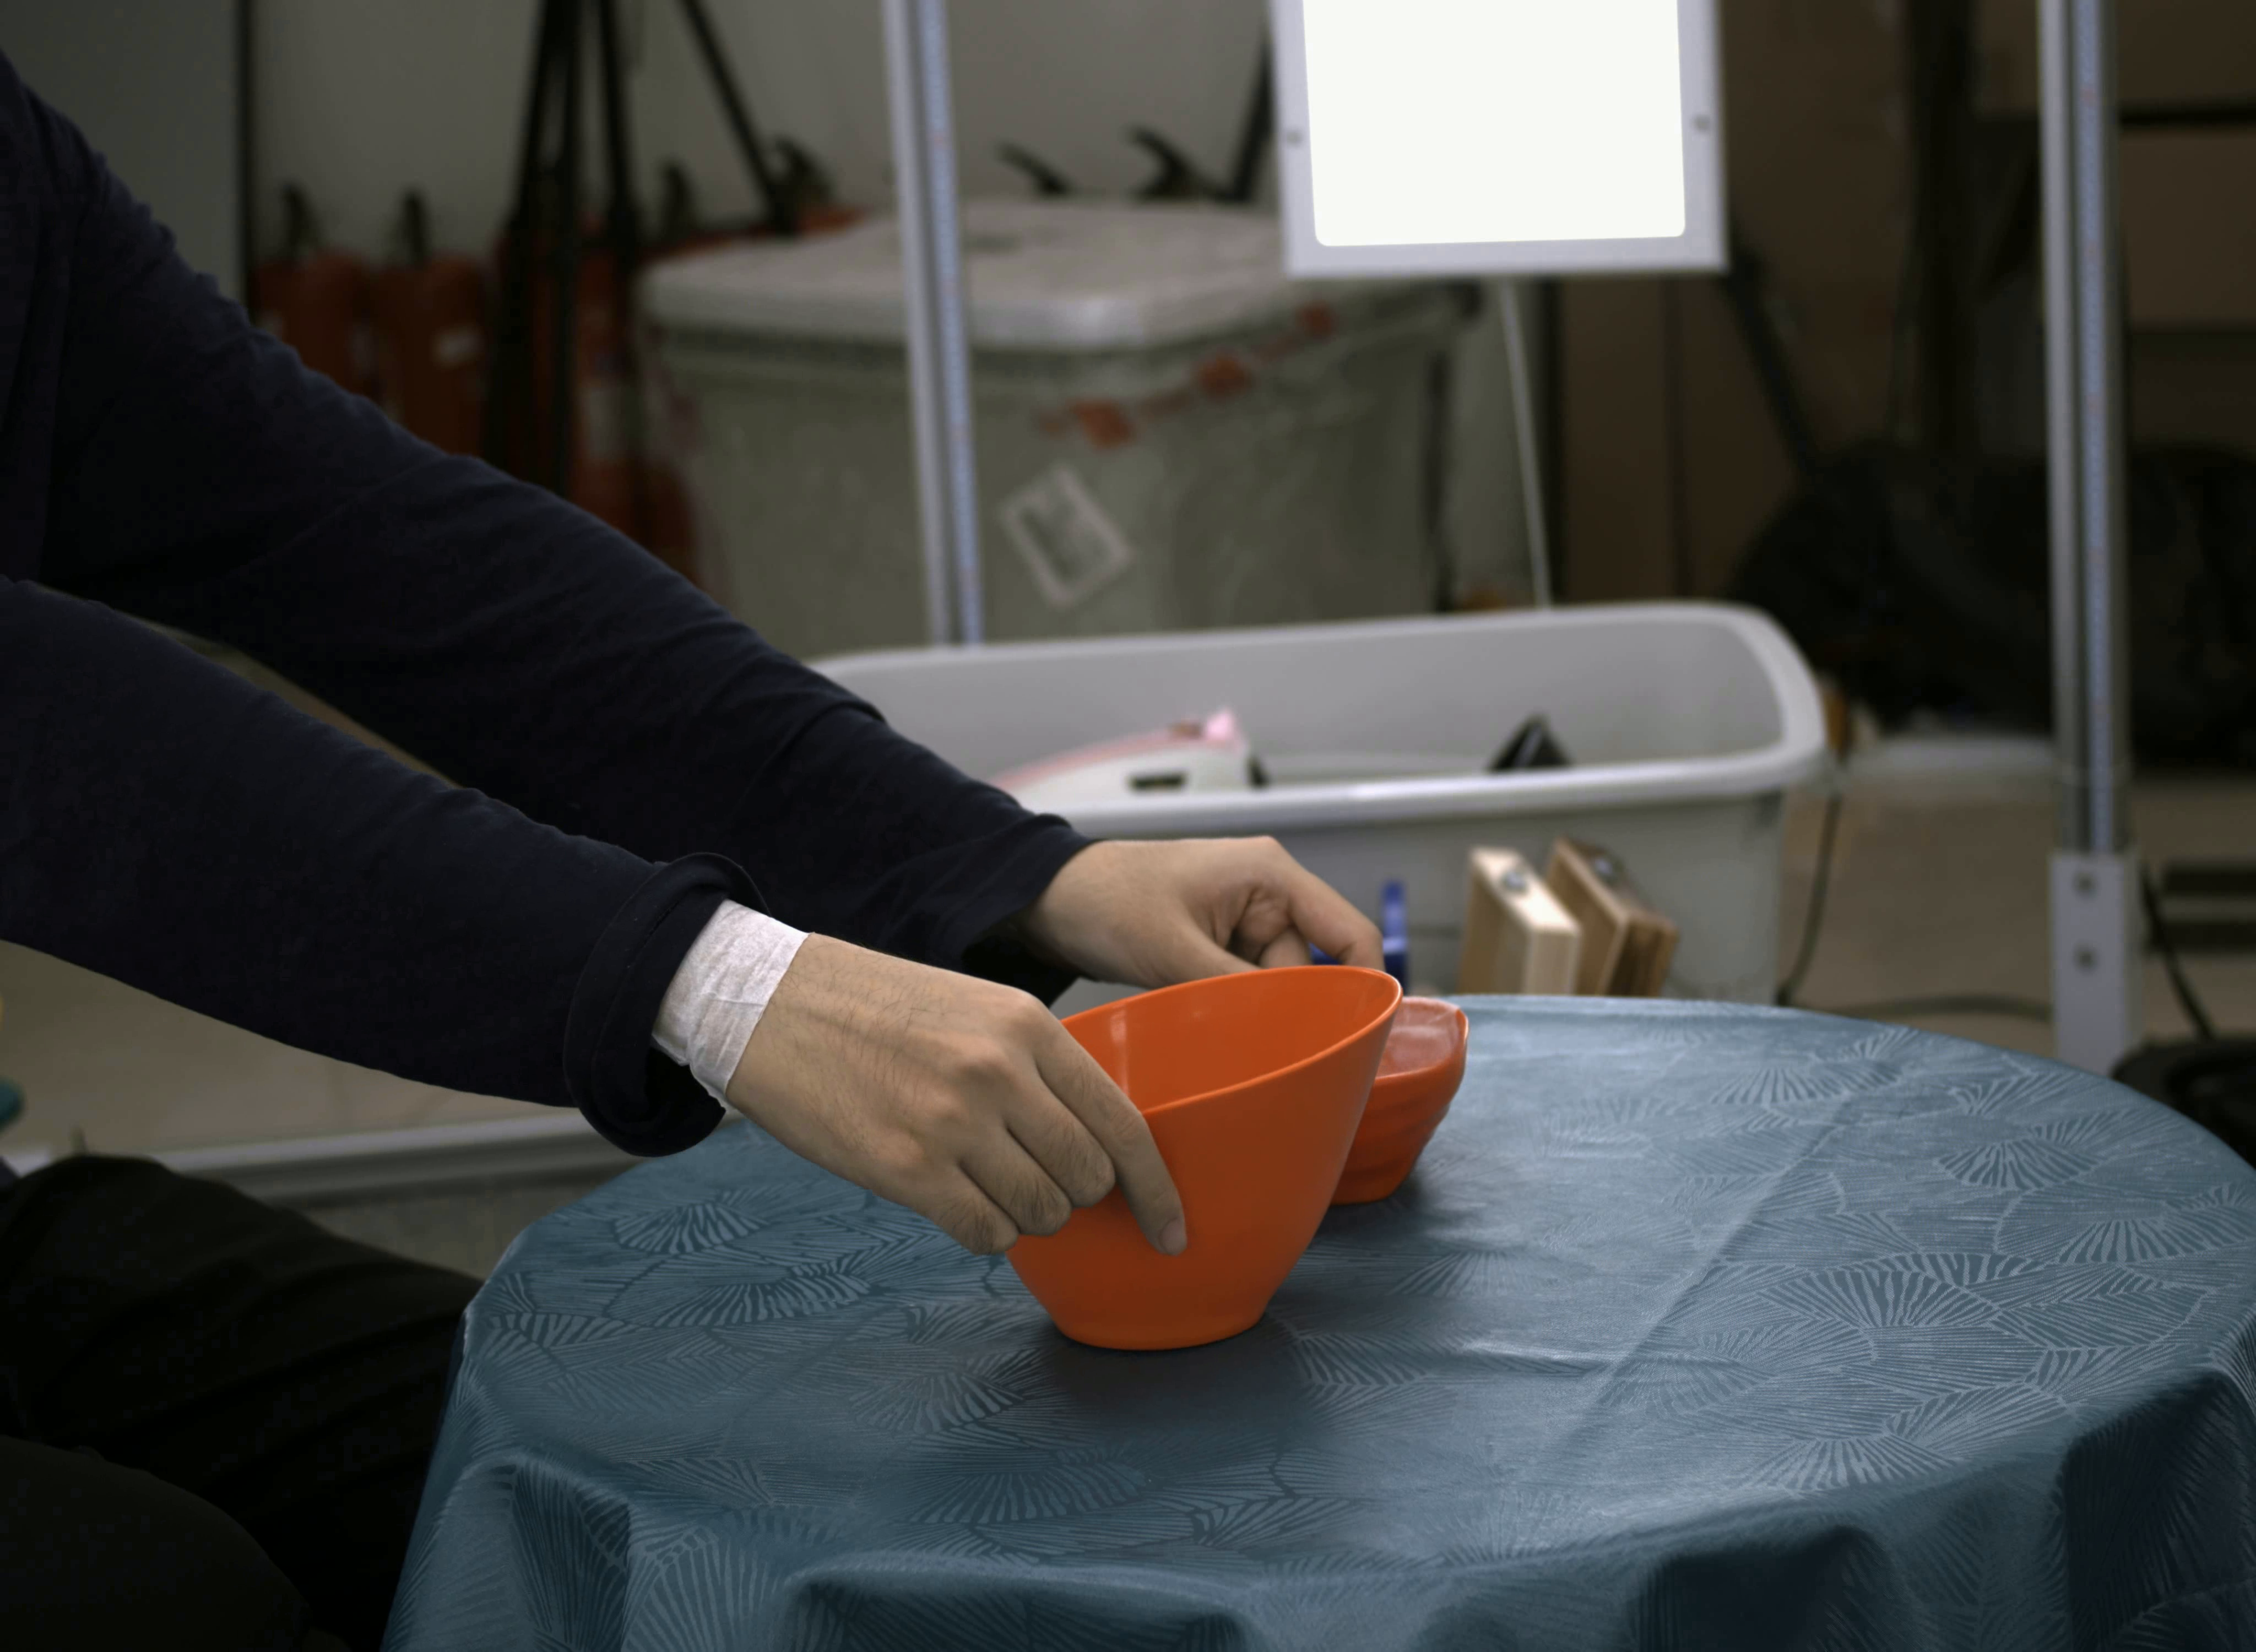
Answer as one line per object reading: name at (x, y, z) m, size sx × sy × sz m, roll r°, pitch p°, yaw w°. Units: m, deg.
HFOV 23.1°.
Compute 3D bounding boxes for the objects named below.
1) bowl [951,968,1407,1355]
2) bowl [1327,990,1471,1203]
bowl at (0.019, 0.109, 1.754) m, size 0.147 × 0.105 × 0.148 m, roll -5°, pitch 13°, yaw 0°
bowl at (0.064, 0.095, 1.896) m, size 0.118 × 0.051 × 0.119 m, roll -4°, pitch 15°, yaw 0°
